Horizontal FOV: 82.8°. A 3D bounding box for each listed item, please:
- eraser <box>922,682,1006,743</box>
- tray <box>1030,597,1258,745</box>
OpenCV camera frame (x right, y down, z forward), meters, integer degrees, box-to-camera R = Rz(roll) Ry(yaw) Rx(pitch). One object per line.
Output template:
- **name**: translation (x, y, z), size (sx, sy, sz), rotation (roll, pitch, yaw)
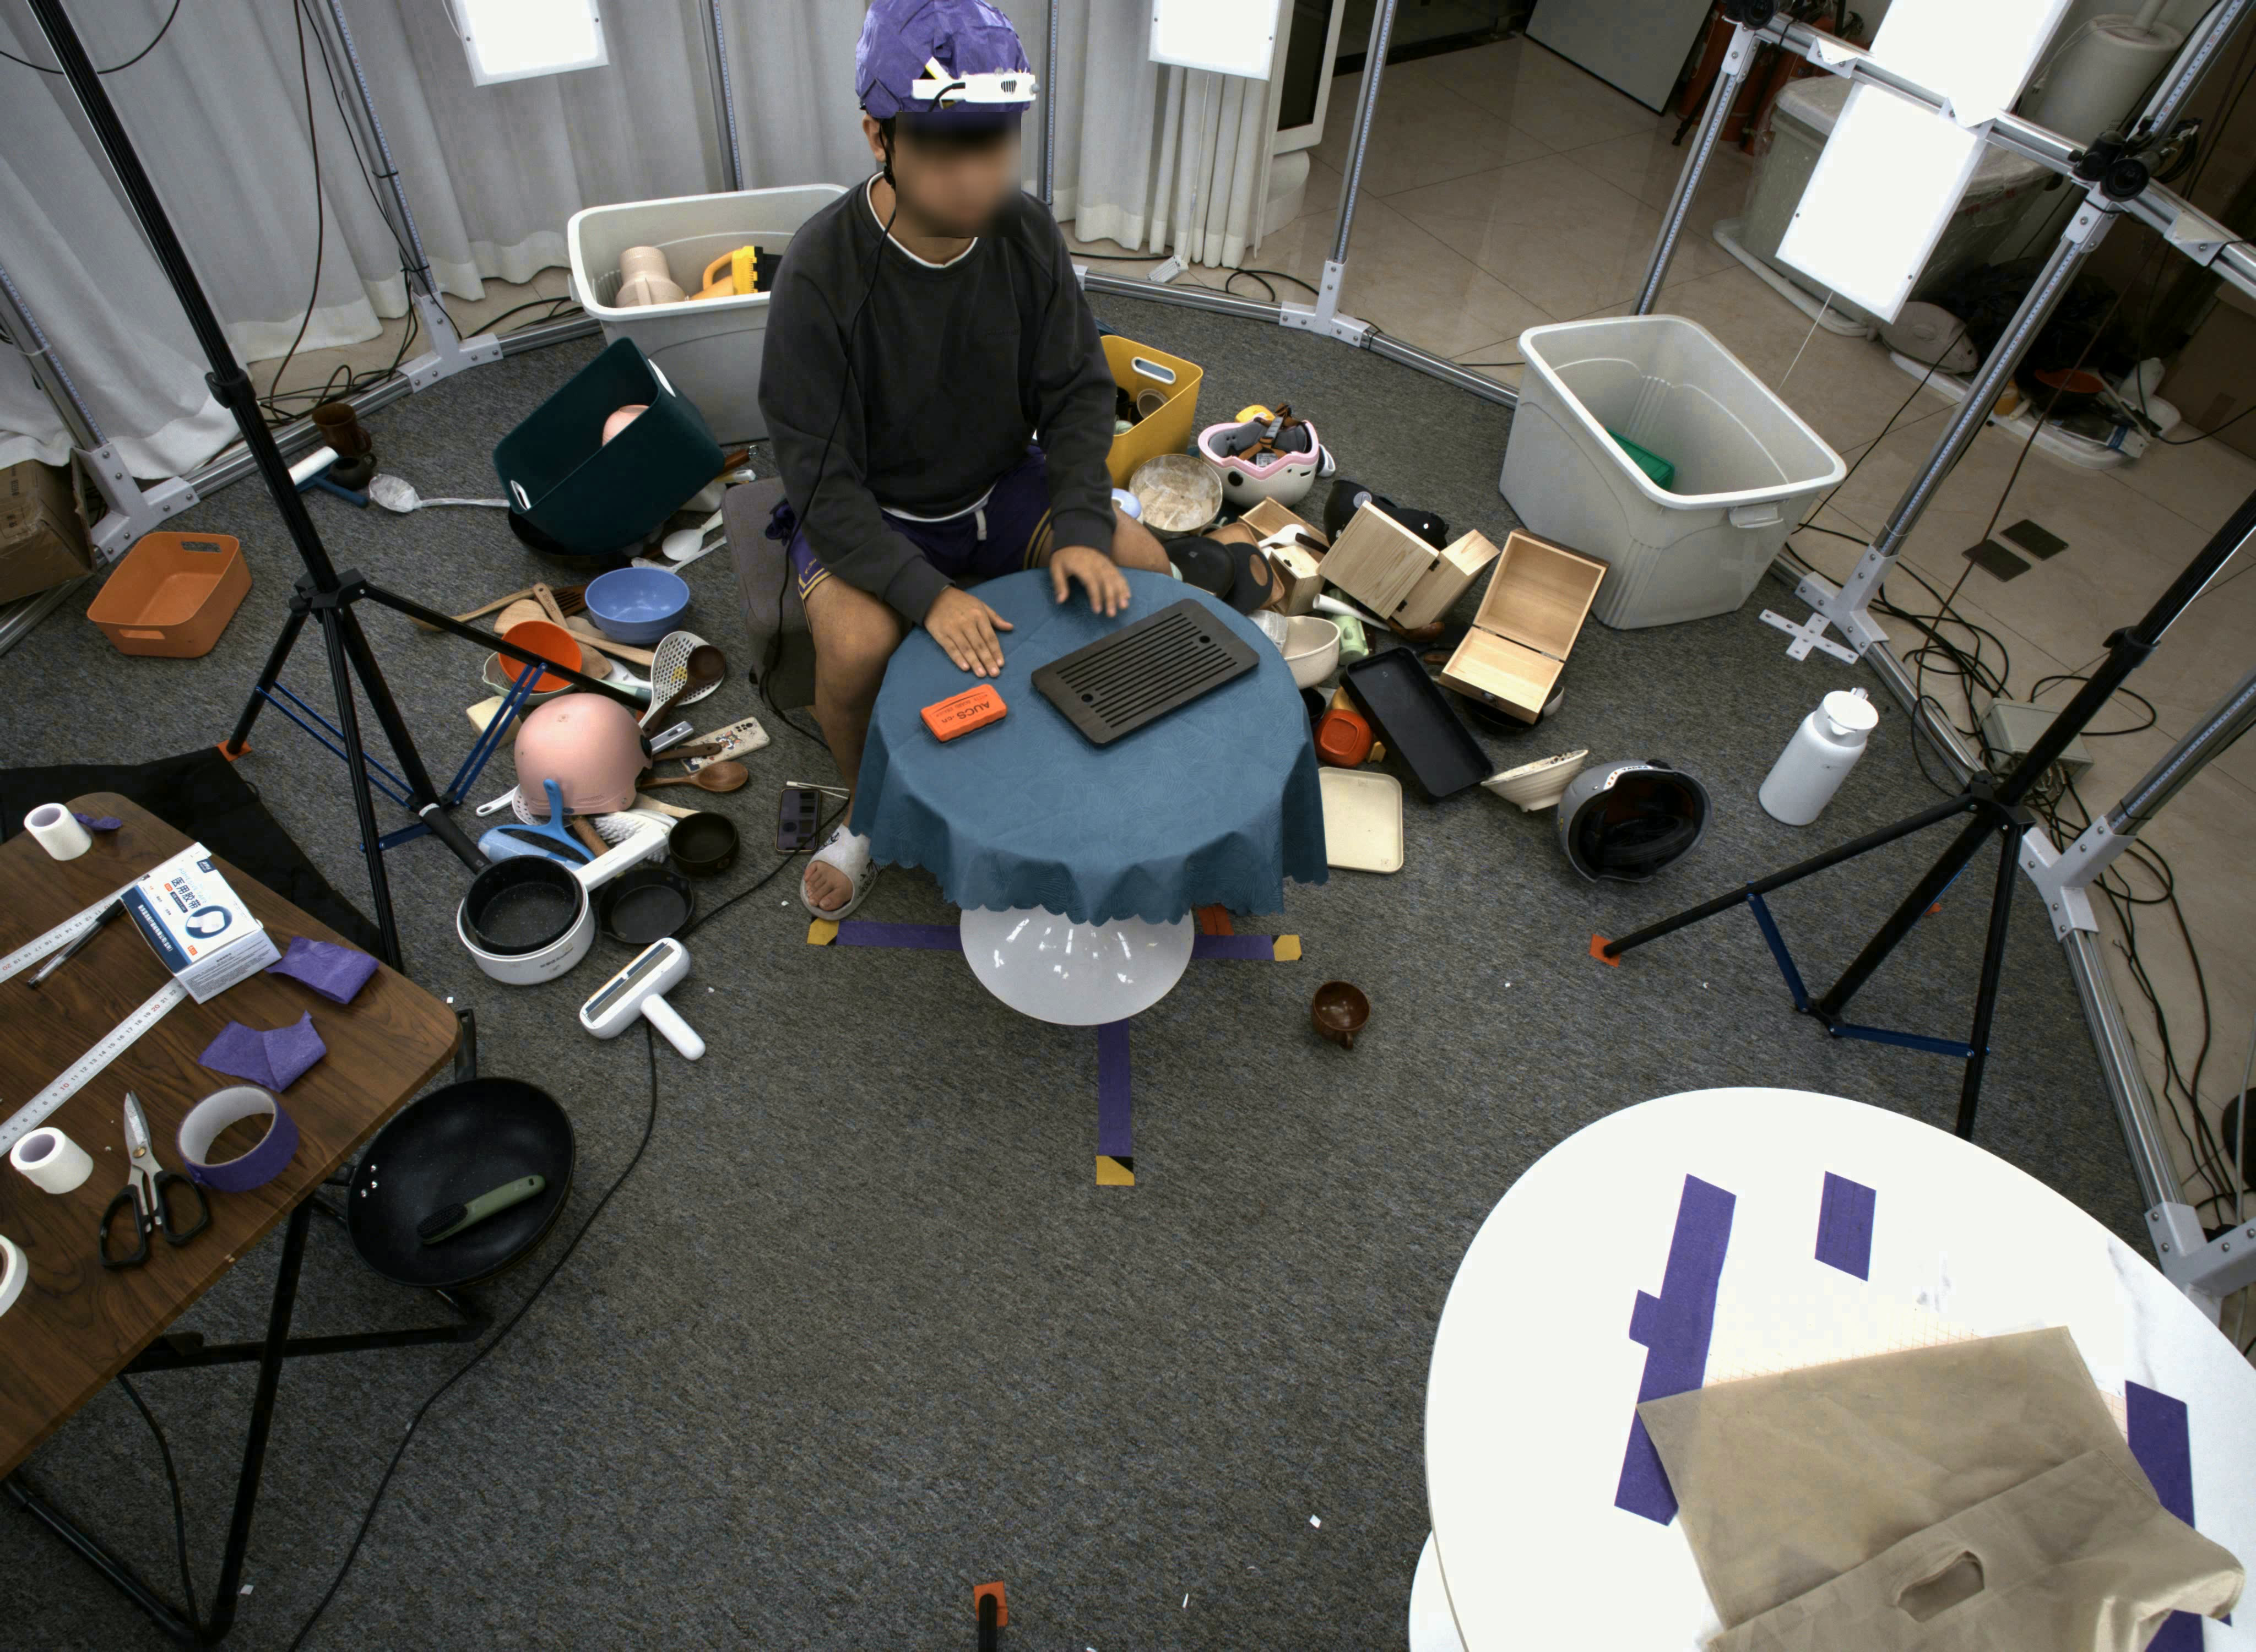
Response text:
- **eraser**: translation (-0.225, -0.157, 1.768), size (0.108, 0.022, 0.060), rotation (-26, 55, -23)
- **tray**: translation (0.025, -0.226, 1.853), size (0.308, 0.018, 0.173), rotation (-29, 57, -25)
